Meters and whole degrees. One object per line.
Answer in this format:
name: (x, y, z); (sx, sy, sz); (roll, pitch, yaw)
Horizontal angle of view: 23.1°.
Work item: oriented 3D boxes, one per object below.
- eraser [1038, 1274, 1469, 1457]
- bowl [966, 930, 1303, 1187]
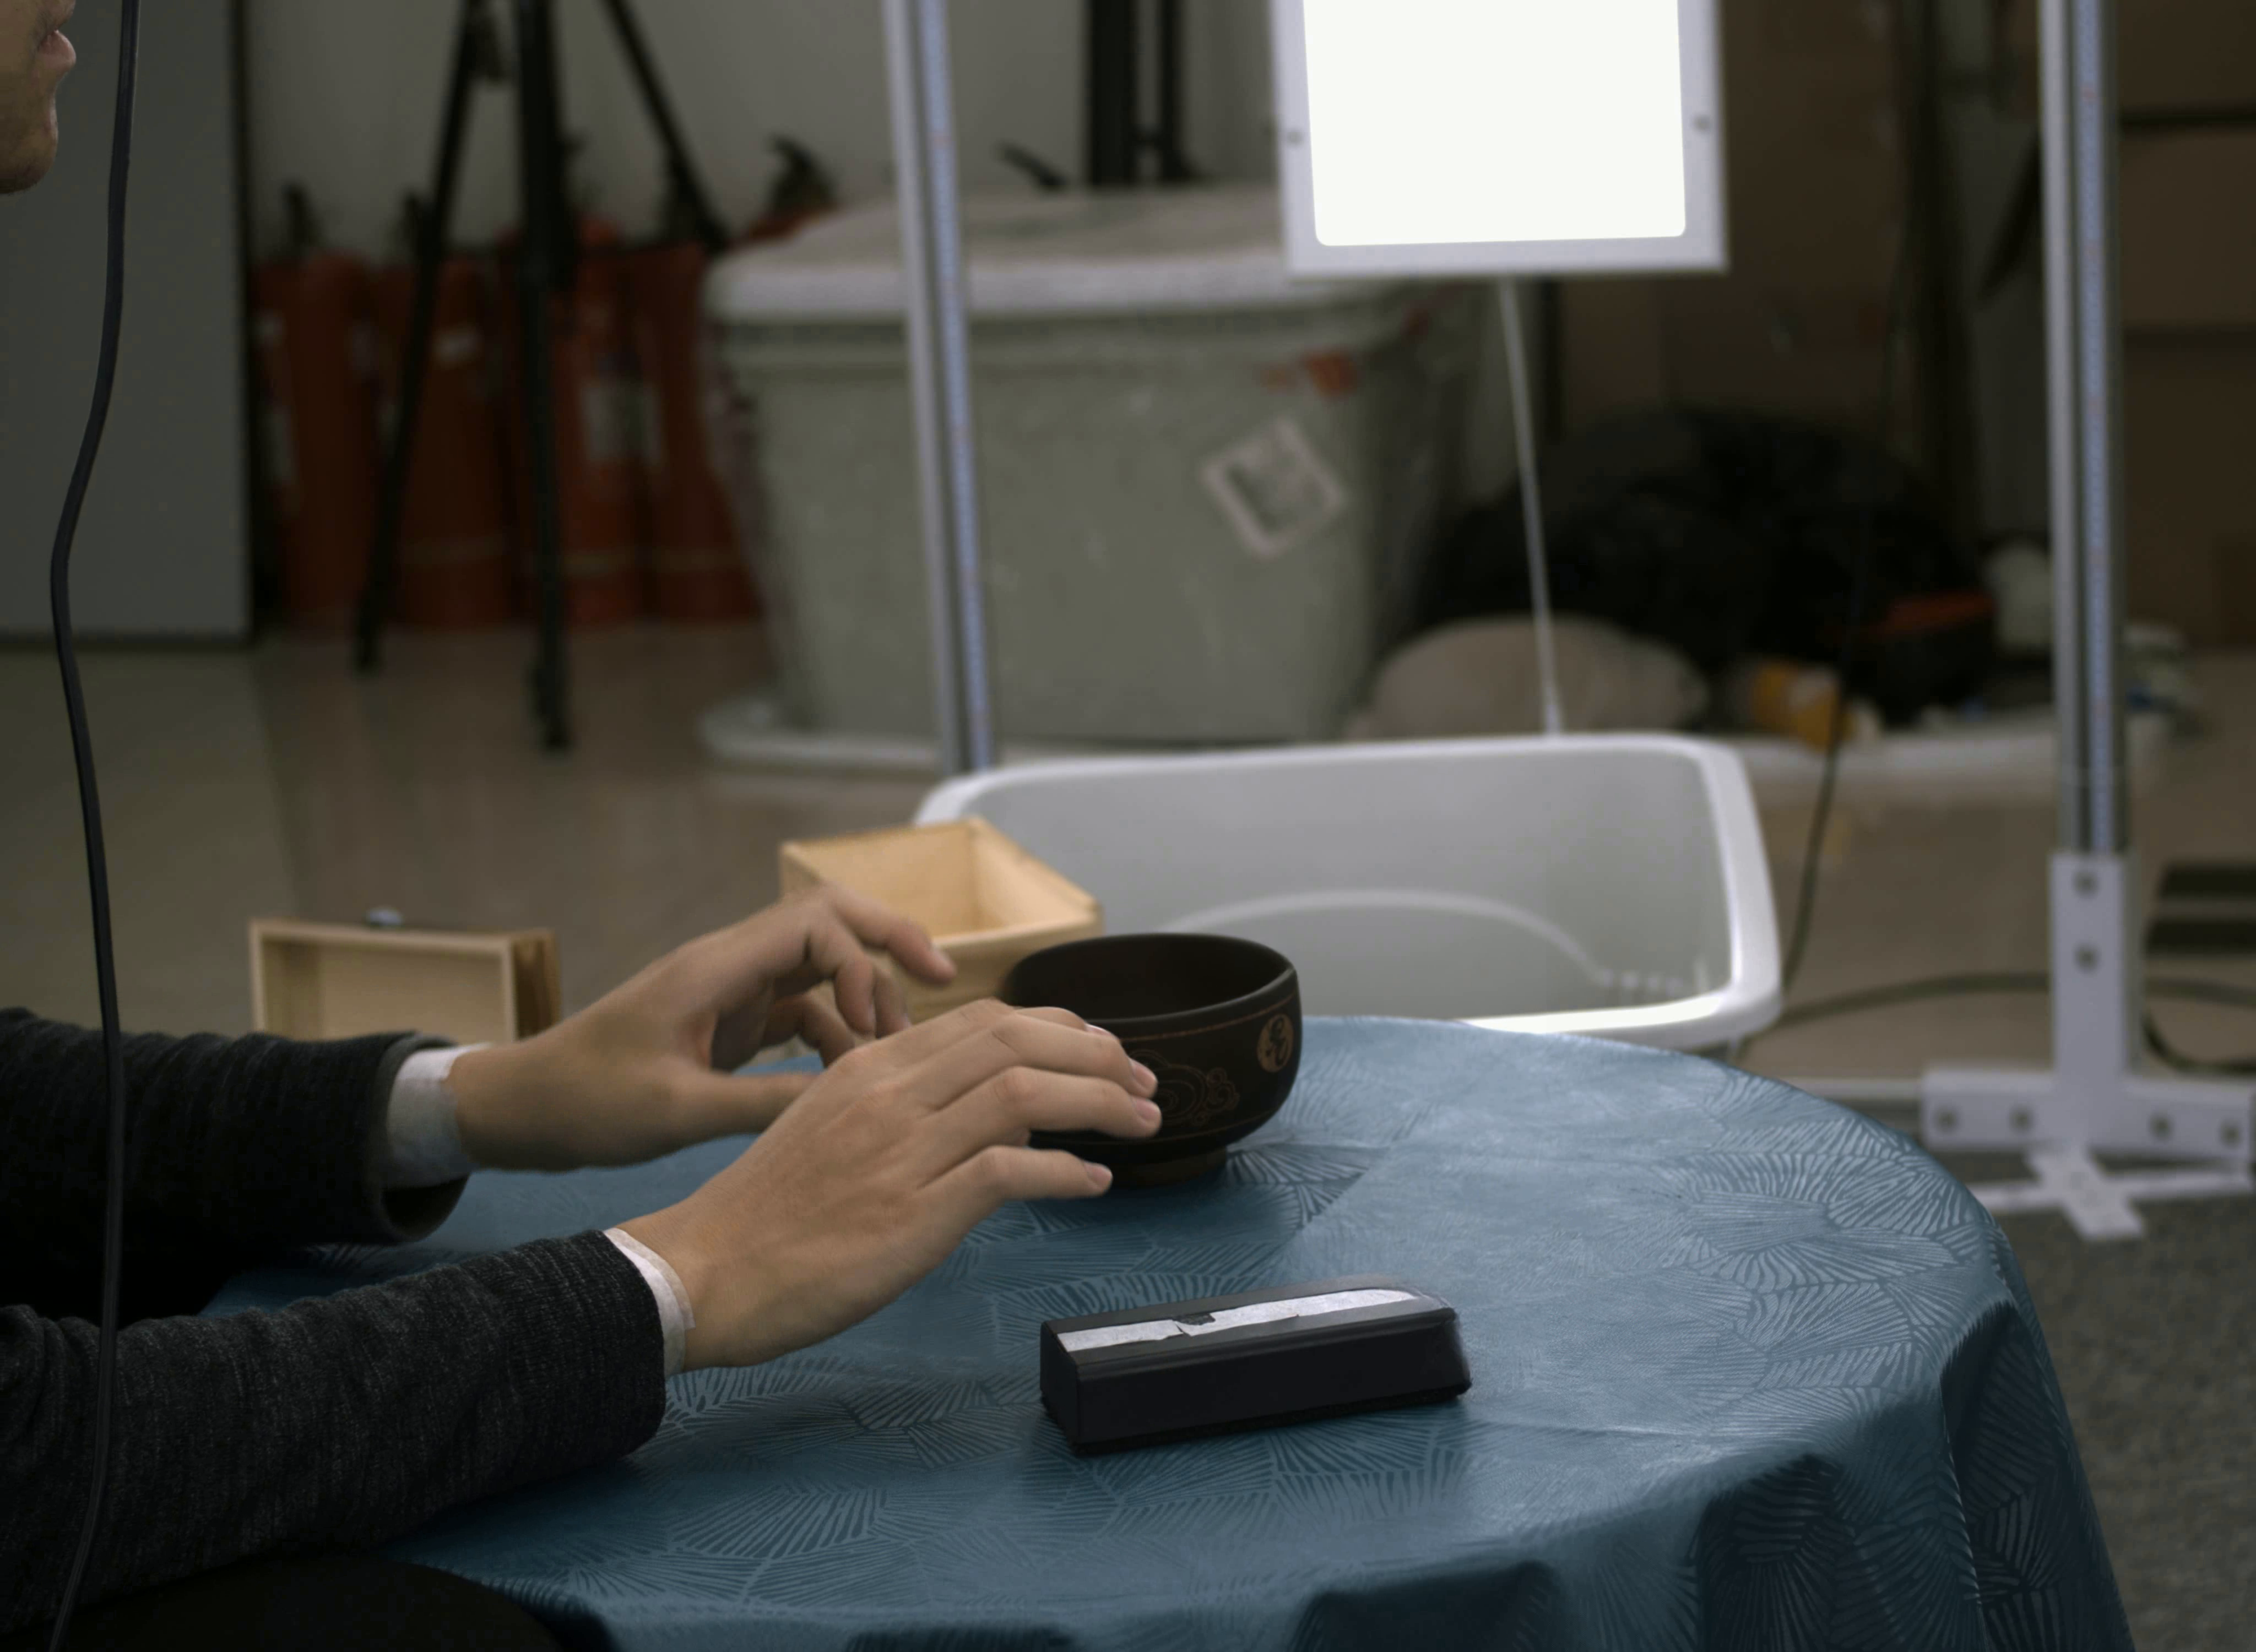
eraser: (0.039, 0.163, 1.675); (0.124, 0.030, 0.054); (-8, 11, -11)
bowl: (0.003, 0.084, 1.920); (0.118, 0.070, 0.118); (-4, 16, 0)
